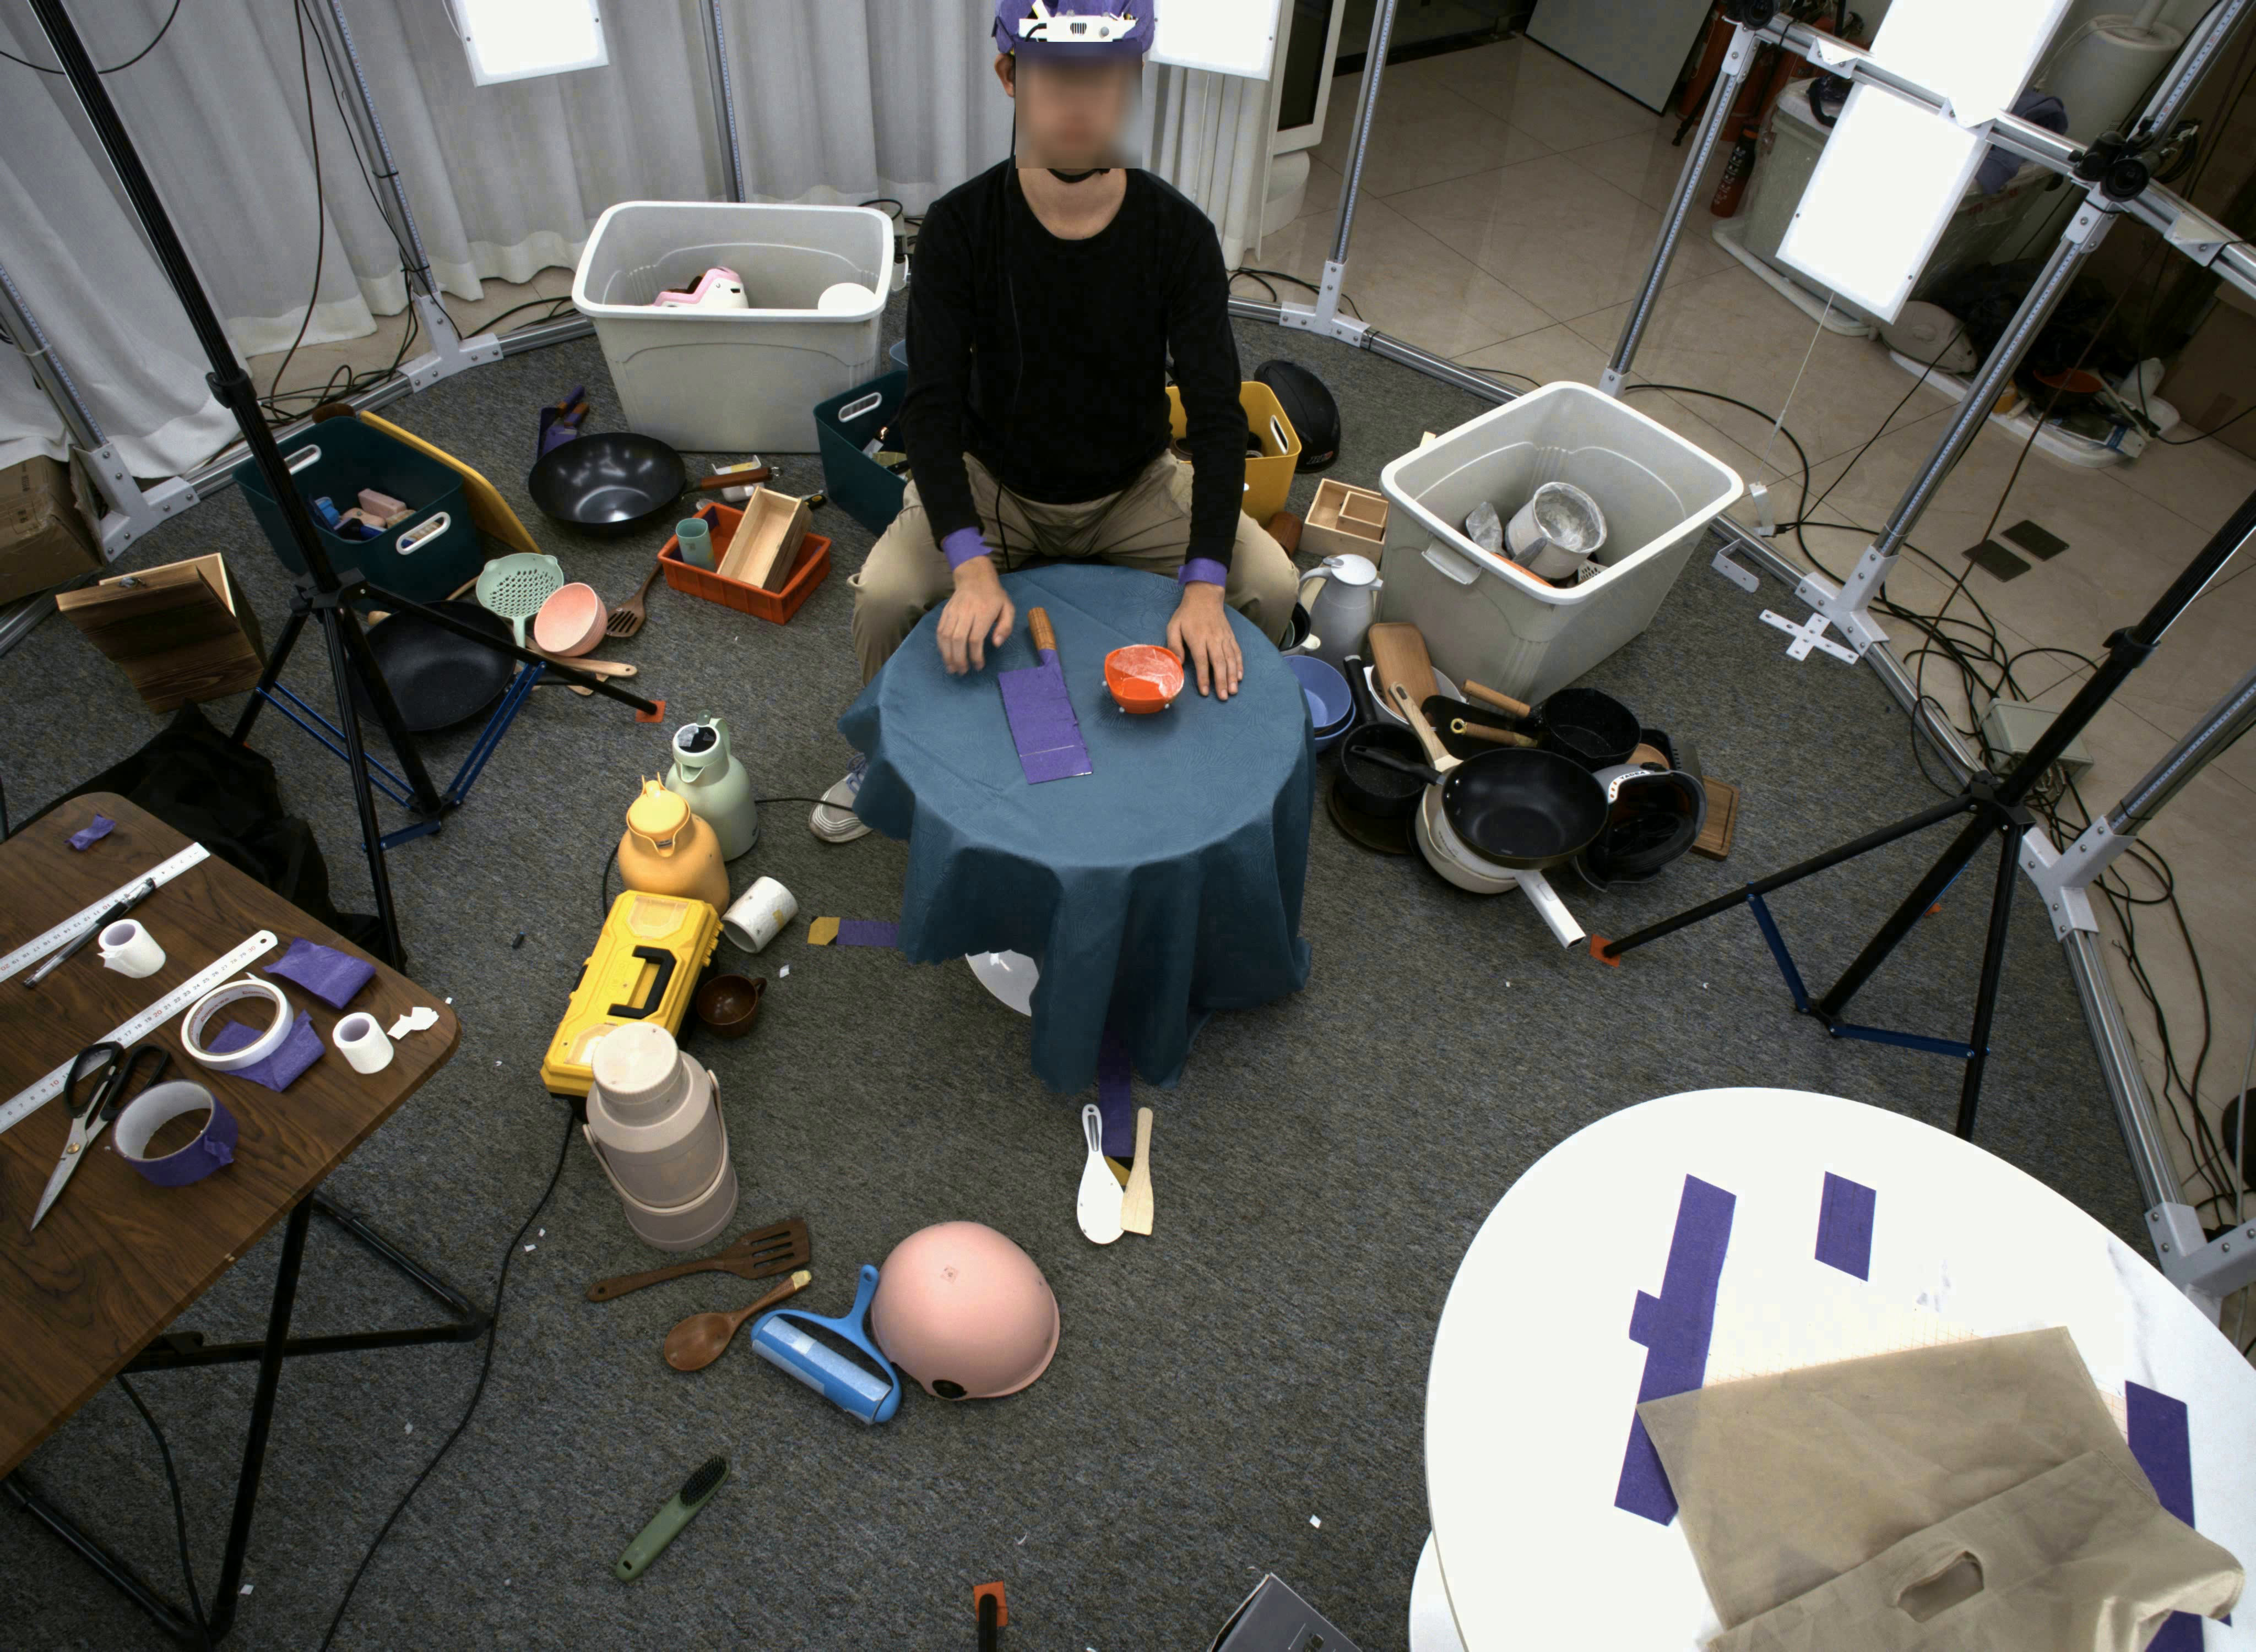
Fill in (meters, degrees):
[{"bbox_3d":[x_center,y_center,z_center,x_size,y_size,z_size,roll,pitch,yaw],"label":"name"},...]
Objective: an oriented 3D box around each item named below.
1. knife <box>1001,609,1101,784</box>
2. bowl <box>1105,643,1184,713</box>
[{"bbox_3d":[-0.126,-0.188,1.807,0.104,0.031,0.323,-10,51,-12],"label":"knife"},{"bbox_3d":[0.022,-0.202,1.809,0.119,0.050,0.122,2,51,-2],"label":"bowl"}]
